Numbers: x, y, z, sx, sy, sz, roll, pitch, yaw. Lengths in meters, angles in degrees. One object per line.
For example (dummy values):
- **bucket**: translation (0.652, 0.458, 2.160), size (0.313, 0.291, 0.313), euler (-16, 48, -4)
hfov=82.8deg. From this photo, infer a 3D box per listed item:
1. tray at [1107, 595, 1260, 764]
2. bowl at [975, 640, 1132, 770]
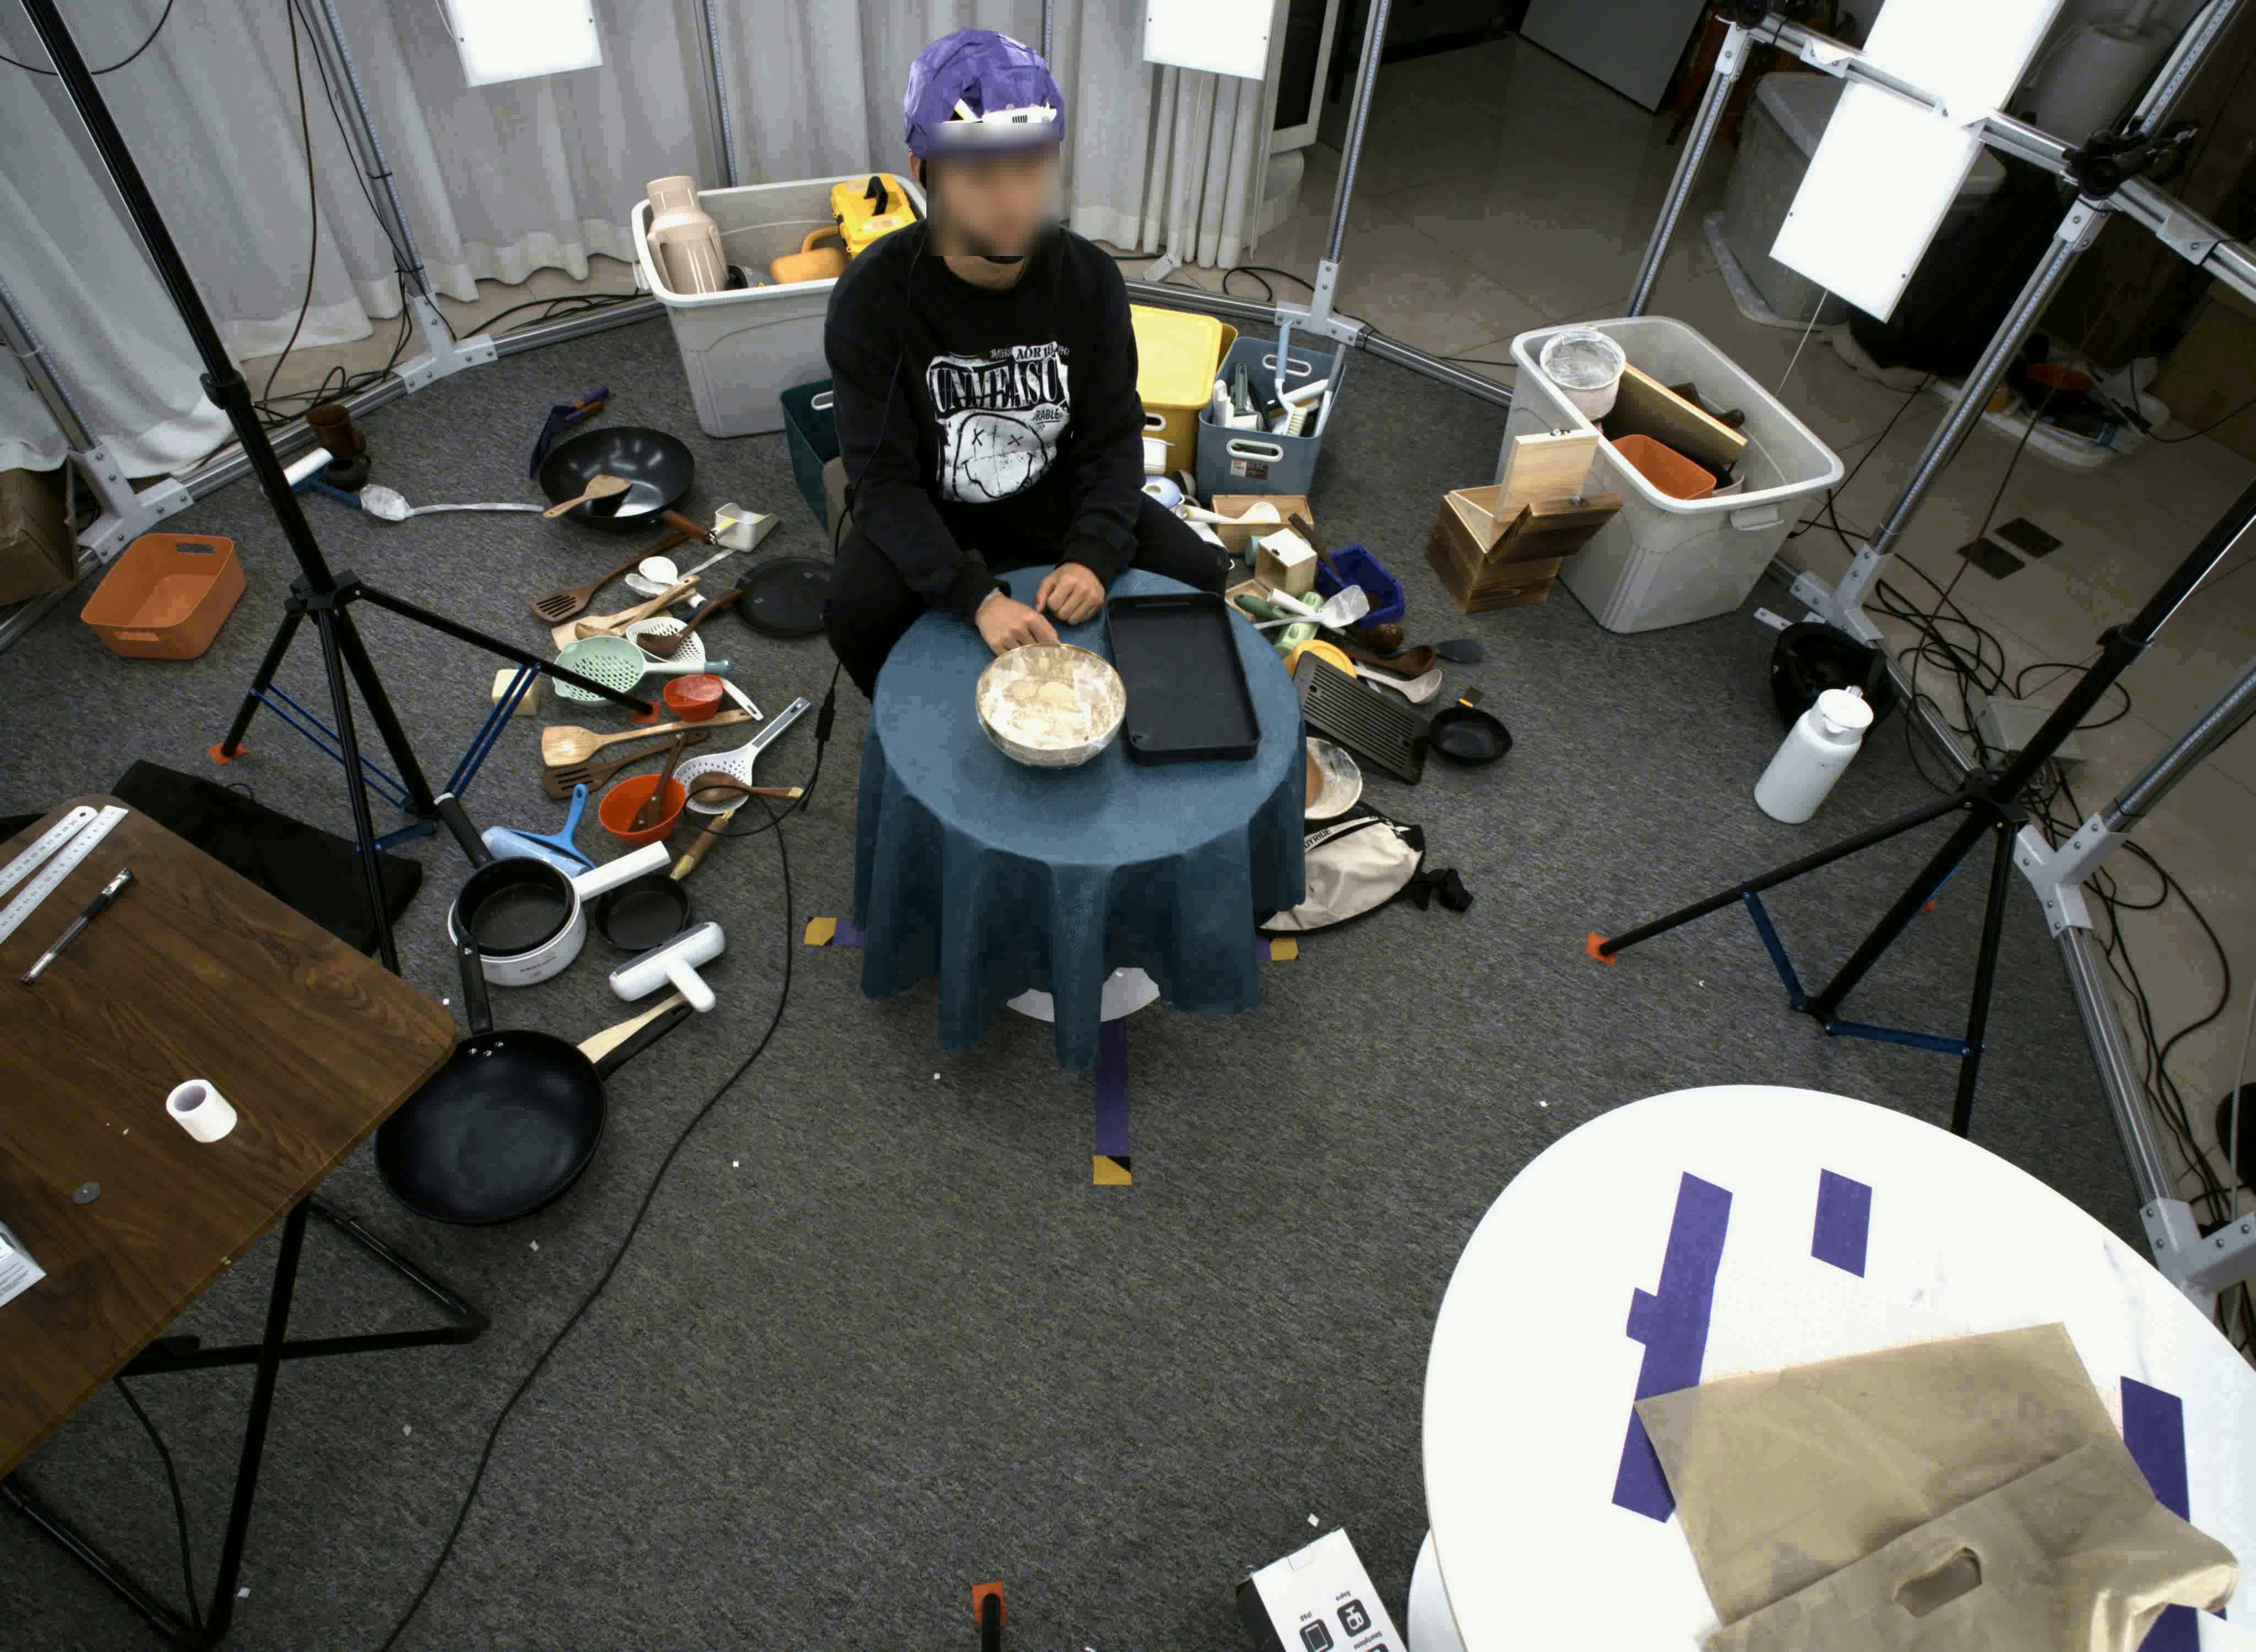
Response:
- **tray**: translation (0.075, -0.217, 1.851), size (0.184, 0.036, 0.326), euler (-4, 47, -5)
- **bowl**: translation (-0.102, -0.150, 1.748), size (0.214, 0.092, 0.220), euler (1, 49, -1)
